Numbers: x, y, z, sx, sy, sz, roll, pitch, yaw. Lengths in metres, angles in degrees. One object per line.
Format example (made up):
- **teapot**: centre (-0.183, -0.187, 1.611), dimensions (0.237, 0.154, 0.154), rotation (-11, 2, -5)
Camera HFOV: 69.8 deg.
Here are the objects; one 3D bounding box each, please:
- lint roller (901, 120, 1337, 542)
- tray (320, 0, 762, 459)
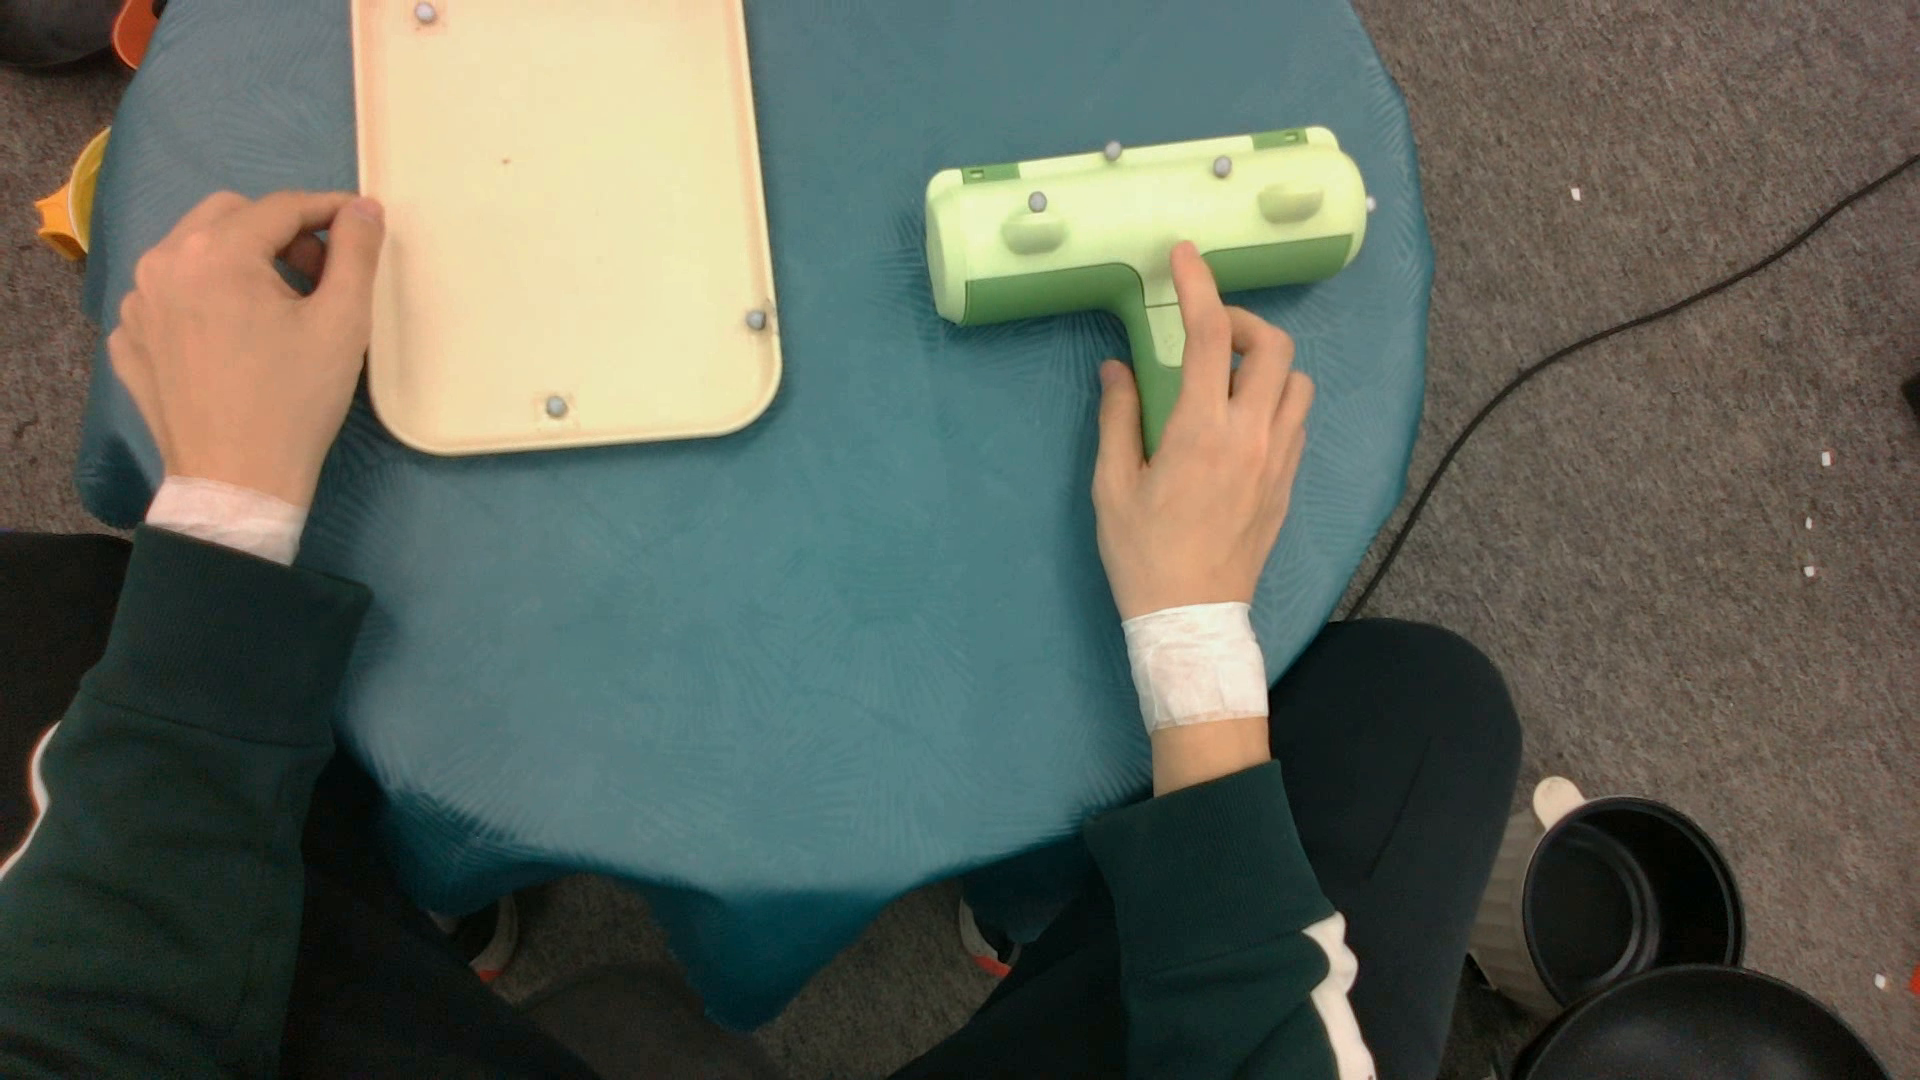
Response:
- **lint roller**: centre (0.085, -0.095, 0.607), dimensions (0.199, 0.082, 0.183), rotation (-9, 75, -11)
- **tray**: centre (-0.185, -0.155, 0.610), dimensions (0.171, 0.017, 0.240), rotation (-8, 79, -10)
